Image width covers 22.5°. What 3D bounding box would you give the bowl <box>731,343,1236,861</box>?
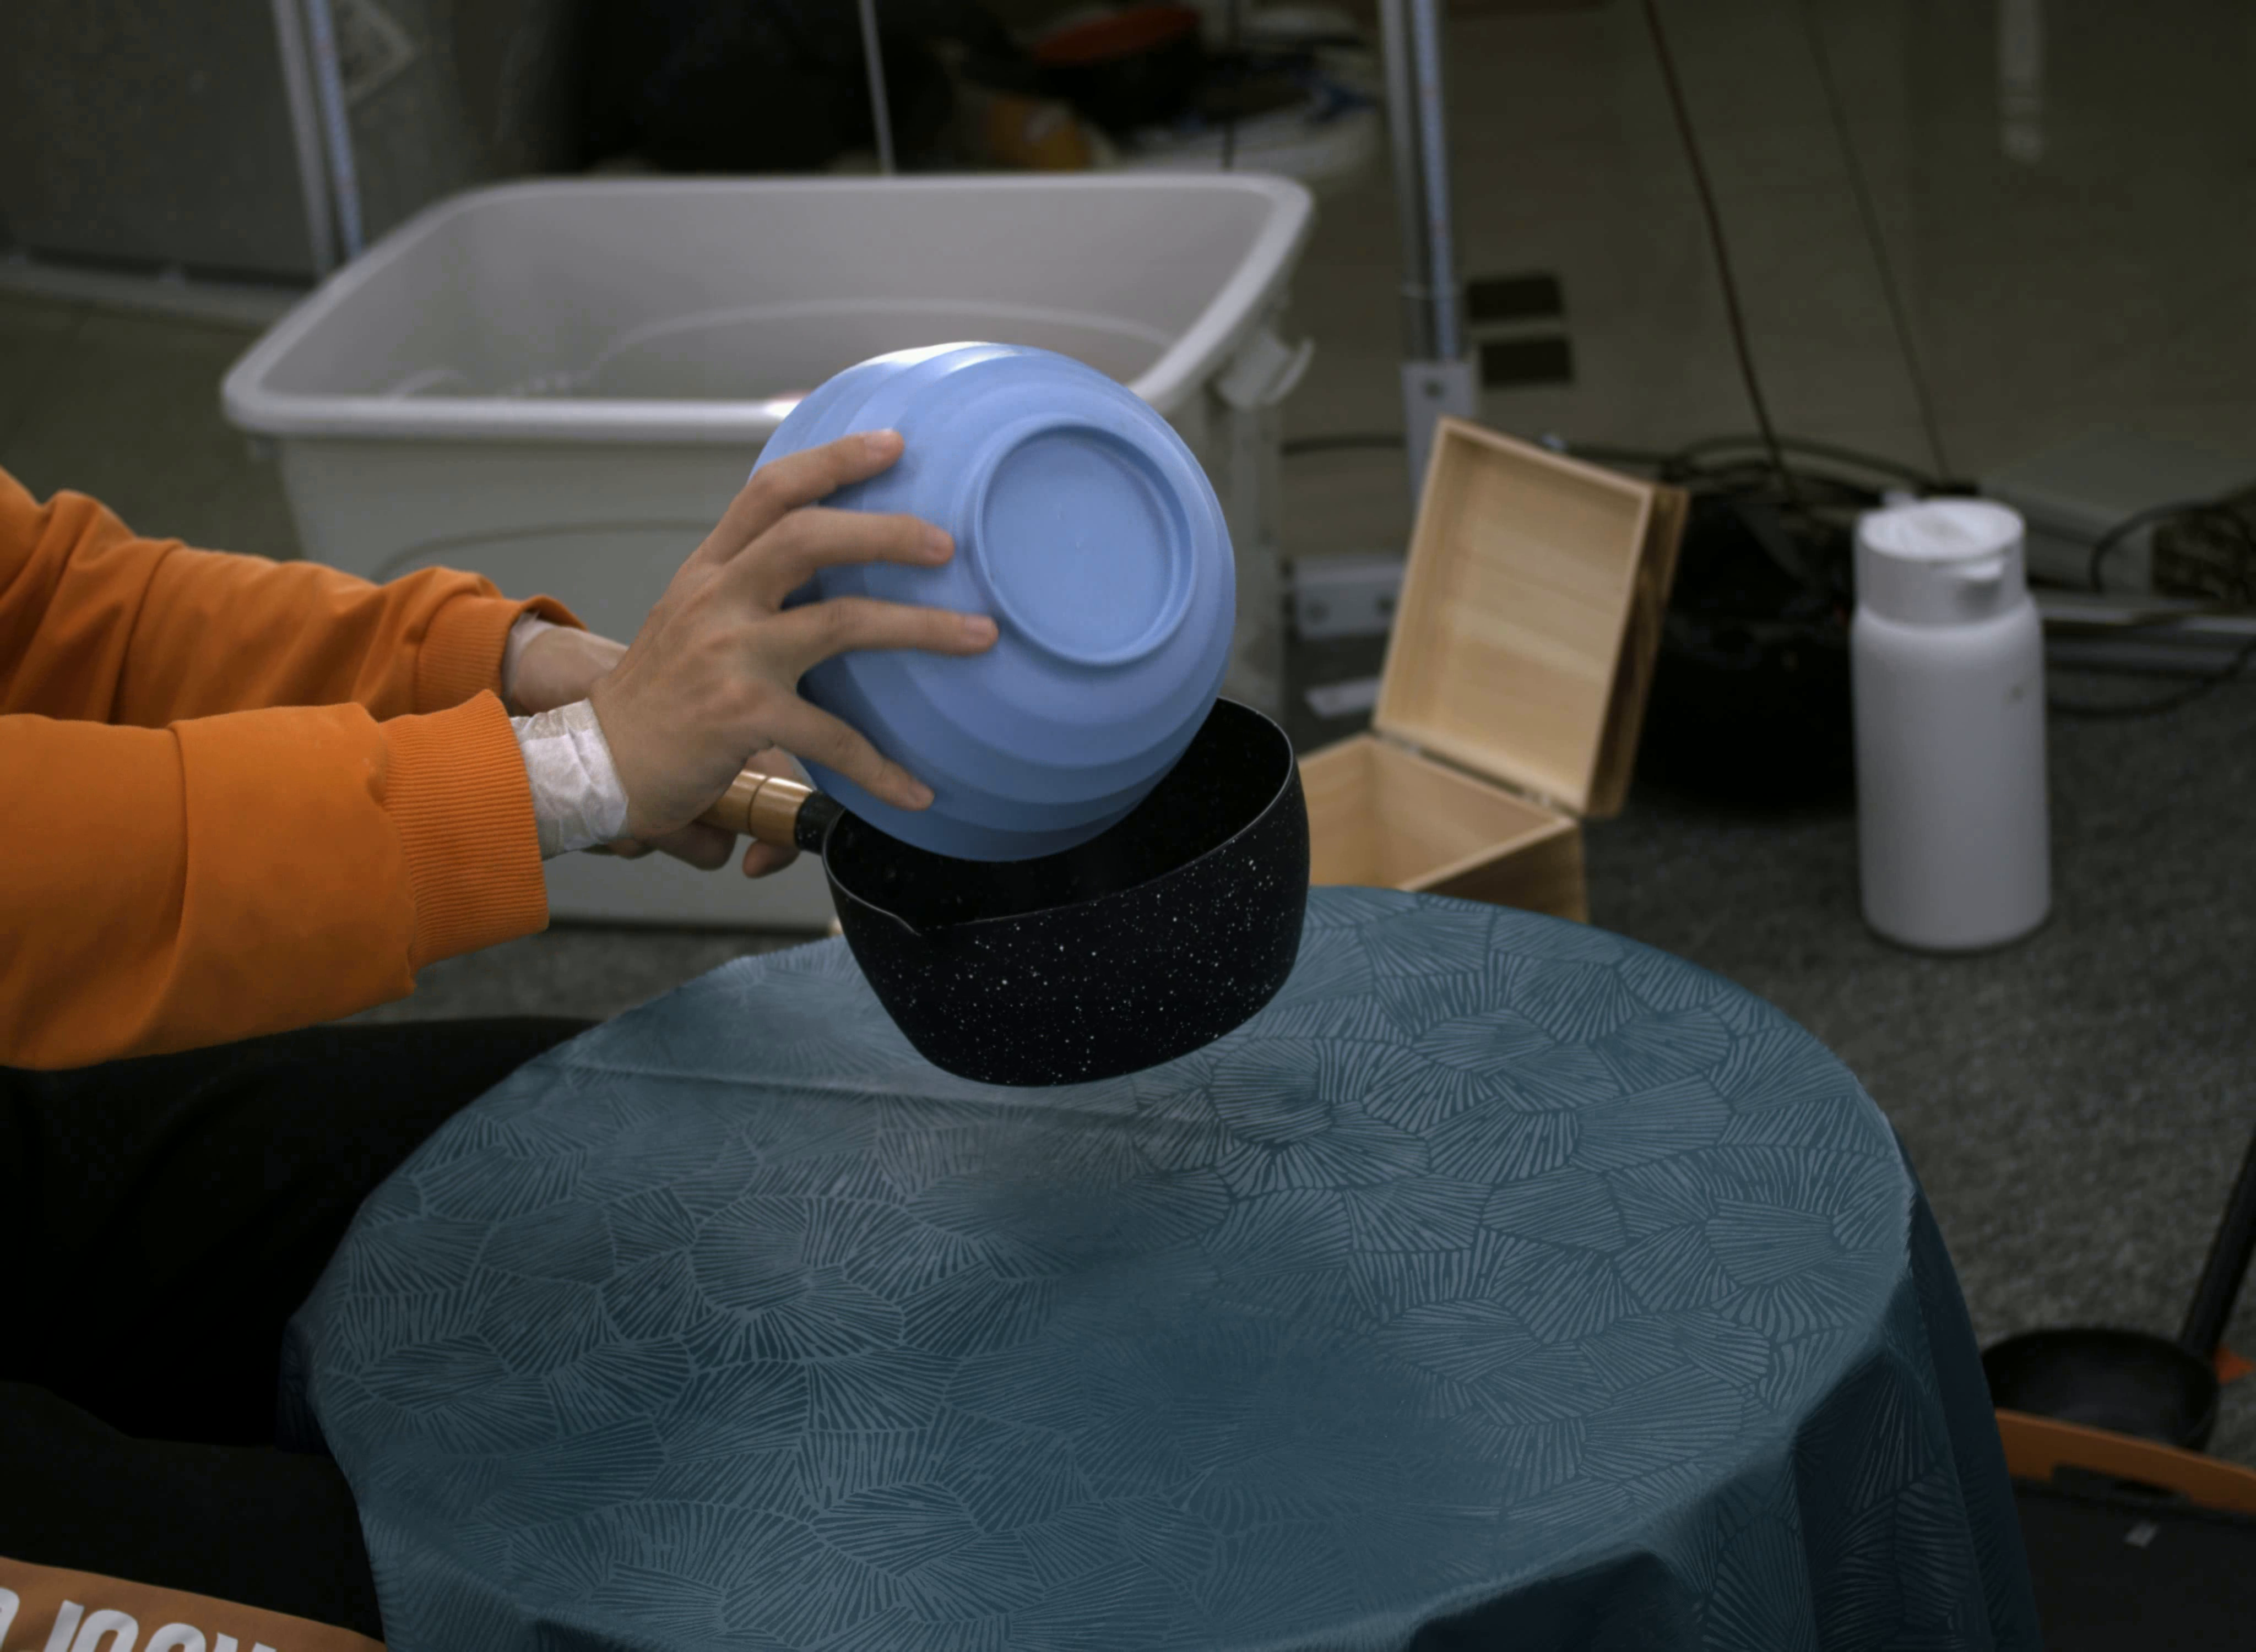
[{"bbox_3d":[-0.037,-0.094,2.060,0.195,0.196,0.096,-23,-1,-32],"label":"bowl"}]

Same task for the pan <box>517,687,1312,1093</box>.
[{"bbox_3d":[-0.088,0.014,2.189,0.342,0.110,0.204,4,32,30],"label":"pan"}]
